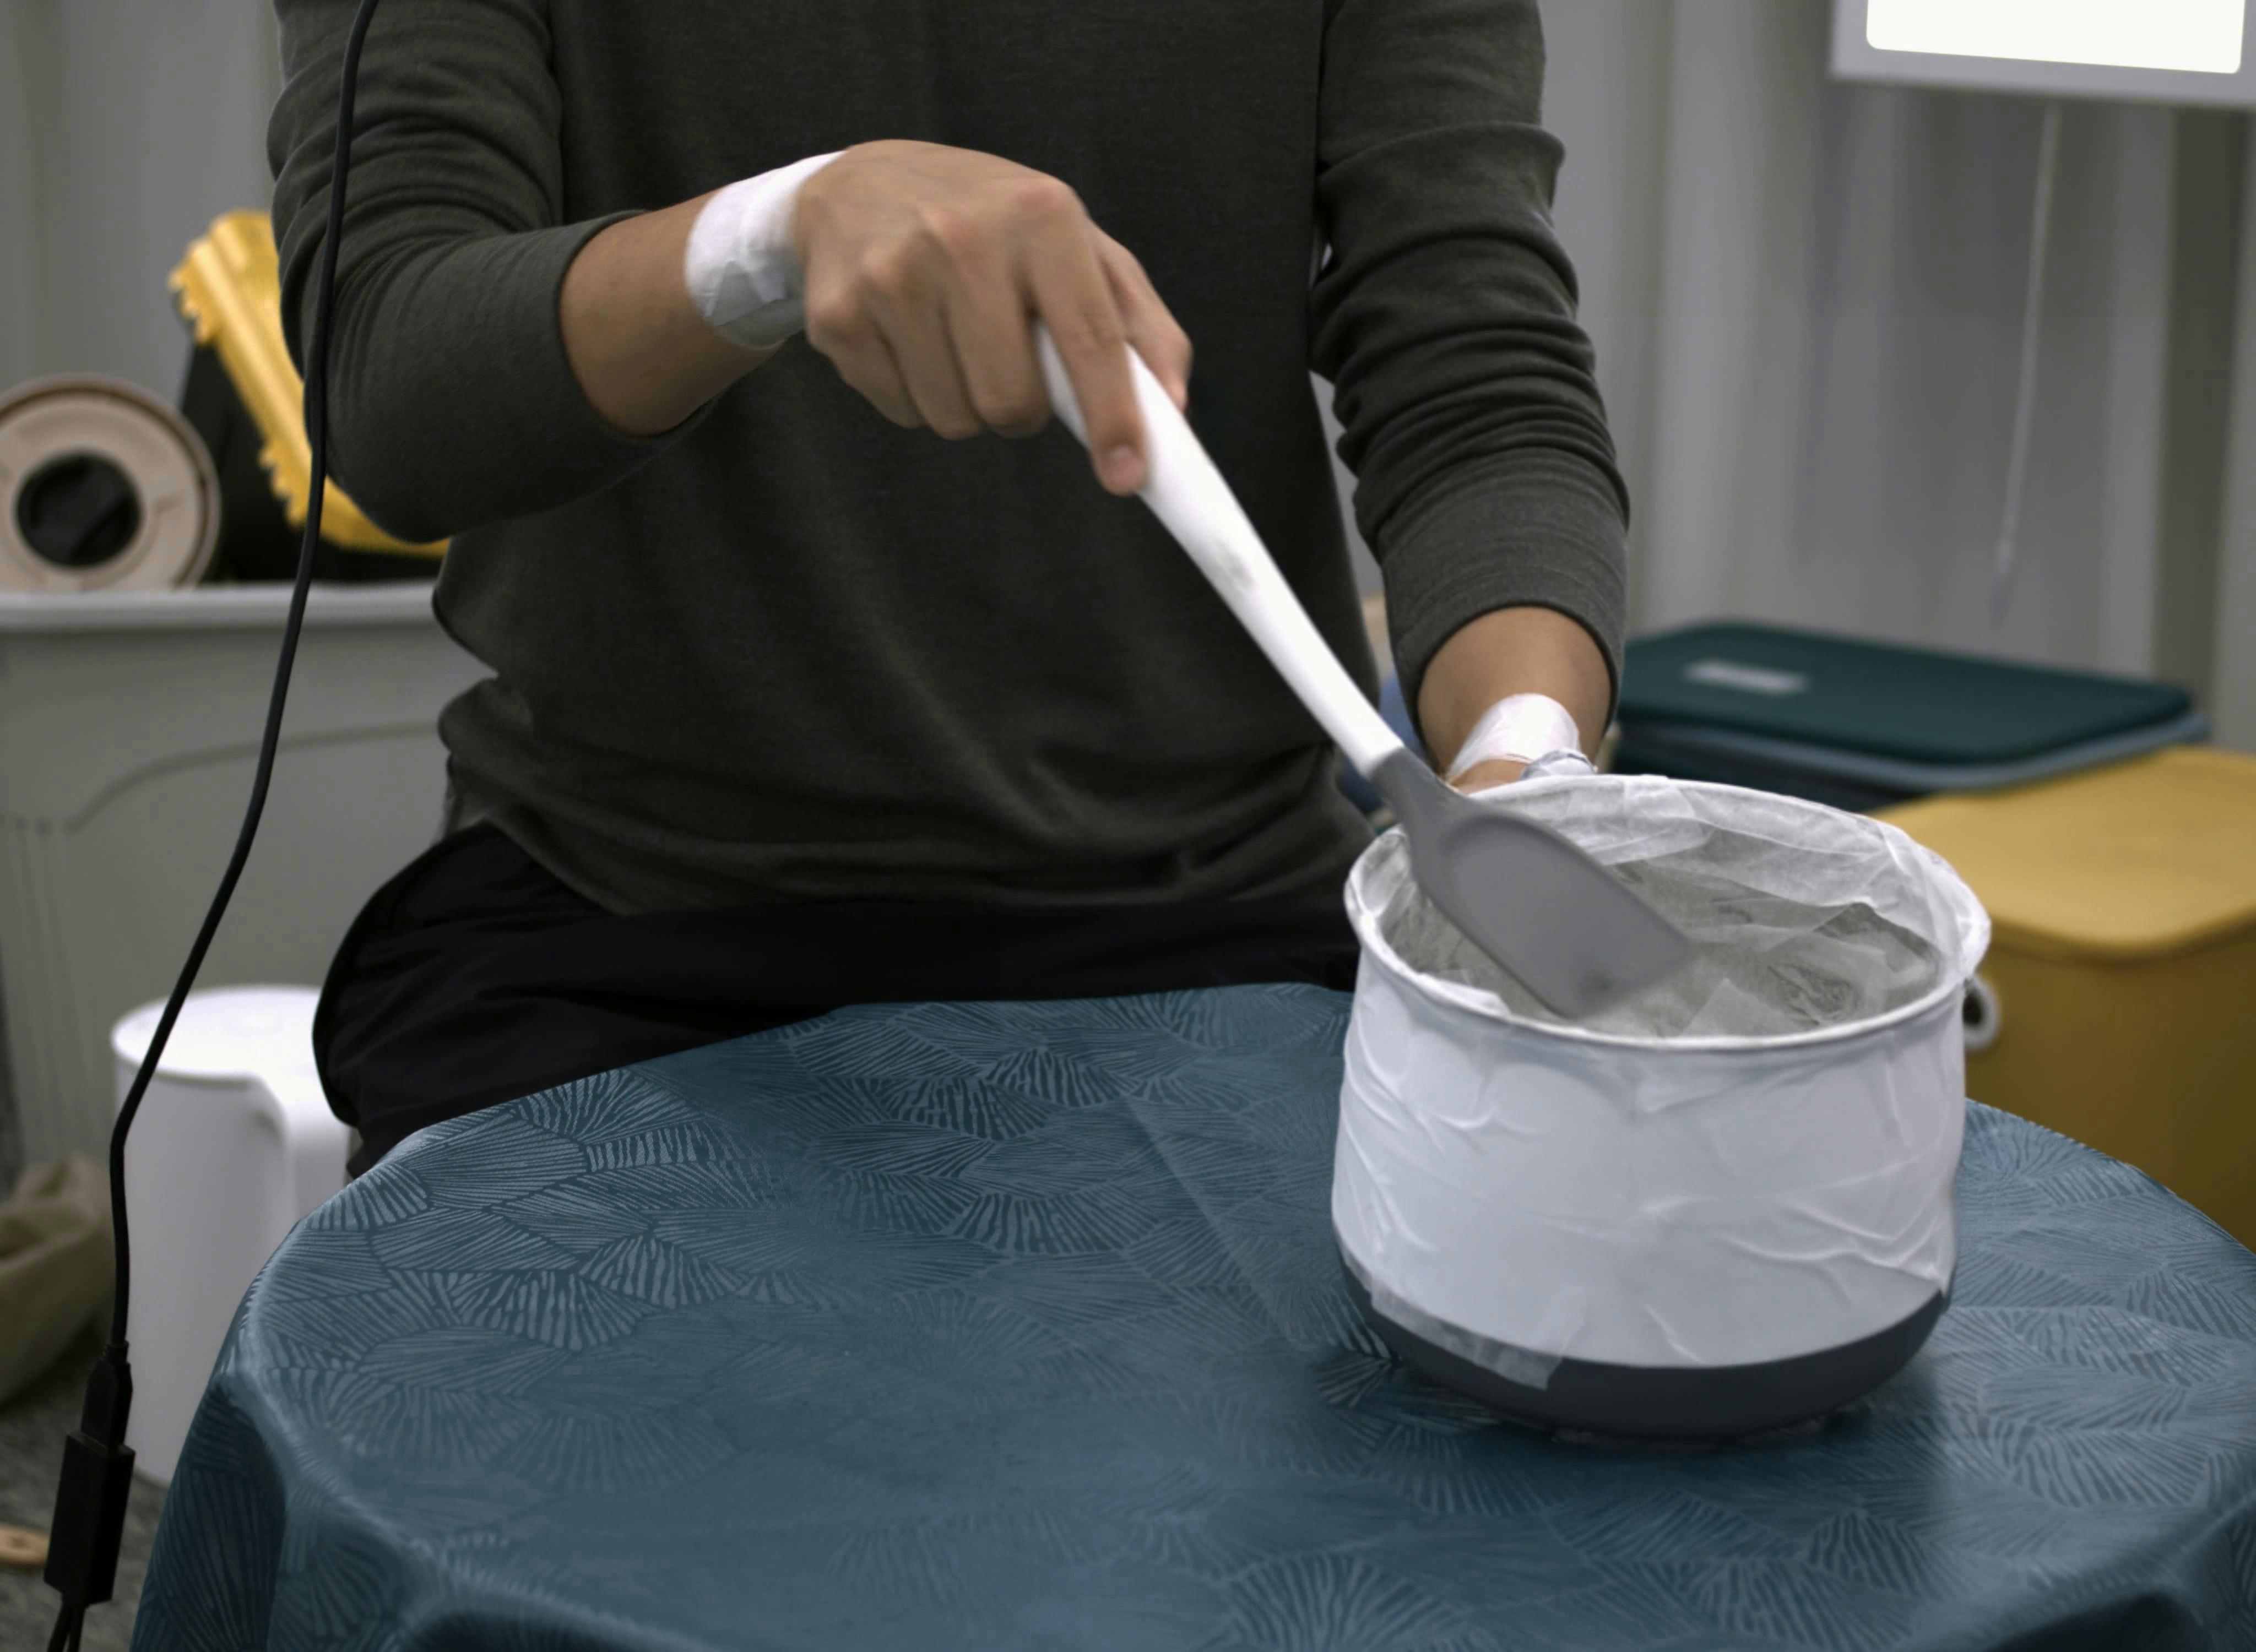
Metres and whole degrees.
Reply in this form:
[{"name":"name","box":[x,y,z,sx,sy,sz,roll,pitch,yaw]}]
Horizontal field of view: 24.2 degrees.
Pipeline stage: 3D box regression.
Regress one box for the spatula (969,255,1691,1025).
[{"name":"spatula","box":[0.050,-0.052,1.465,0.059,0.032,0.285,-24,64,-33]}]

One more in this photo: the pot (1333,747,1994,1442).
[{"name":"pot","box":[0.140,0.068,1.490,0.179,0.138,0.231,-4,24,-13]}]
